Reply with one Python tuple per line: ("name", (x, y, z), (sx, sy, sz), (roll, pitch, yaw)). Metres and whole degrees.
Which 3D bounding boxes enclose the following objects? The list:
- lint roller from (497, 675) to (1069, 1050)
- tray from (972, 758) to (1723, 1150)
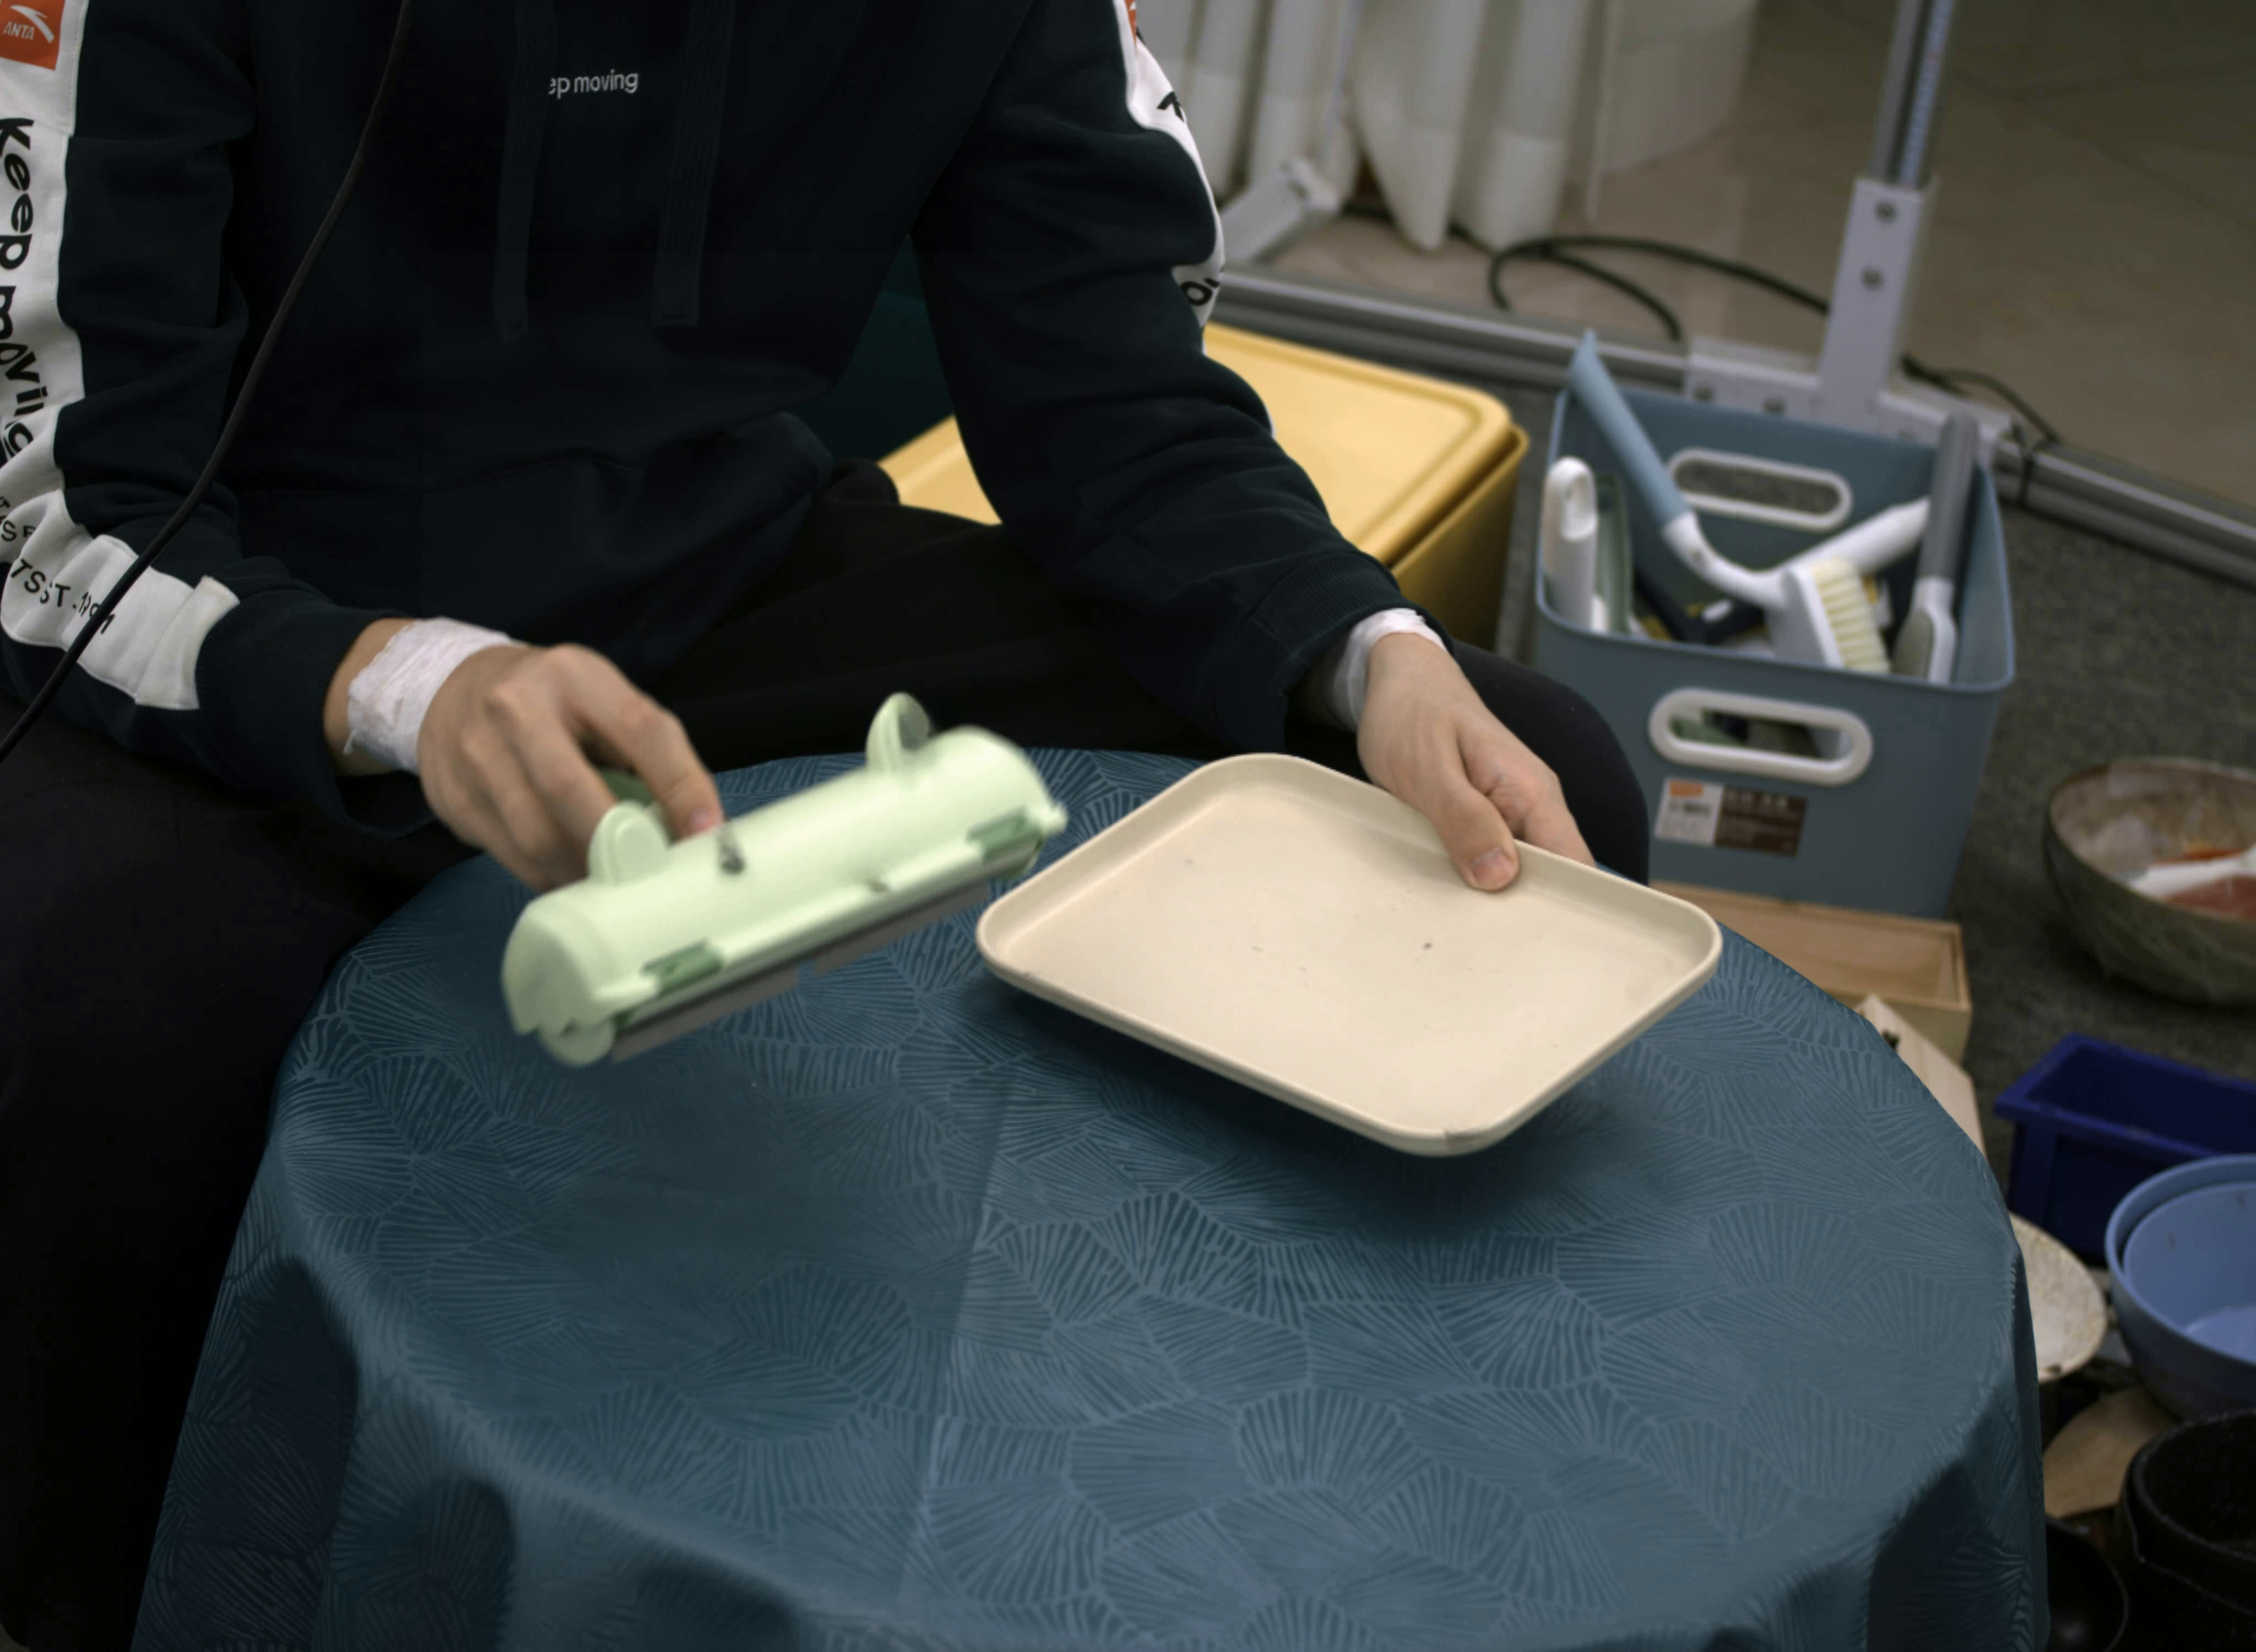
("lint roller", (-0.148, -0.011, 1.745), (0.198, 0.082, 0.185), (-24, 38, -37))
("tray", (0.076, 0.044, 1.881), (0.241, 0.017, 0.171), (21, 39, 37))
